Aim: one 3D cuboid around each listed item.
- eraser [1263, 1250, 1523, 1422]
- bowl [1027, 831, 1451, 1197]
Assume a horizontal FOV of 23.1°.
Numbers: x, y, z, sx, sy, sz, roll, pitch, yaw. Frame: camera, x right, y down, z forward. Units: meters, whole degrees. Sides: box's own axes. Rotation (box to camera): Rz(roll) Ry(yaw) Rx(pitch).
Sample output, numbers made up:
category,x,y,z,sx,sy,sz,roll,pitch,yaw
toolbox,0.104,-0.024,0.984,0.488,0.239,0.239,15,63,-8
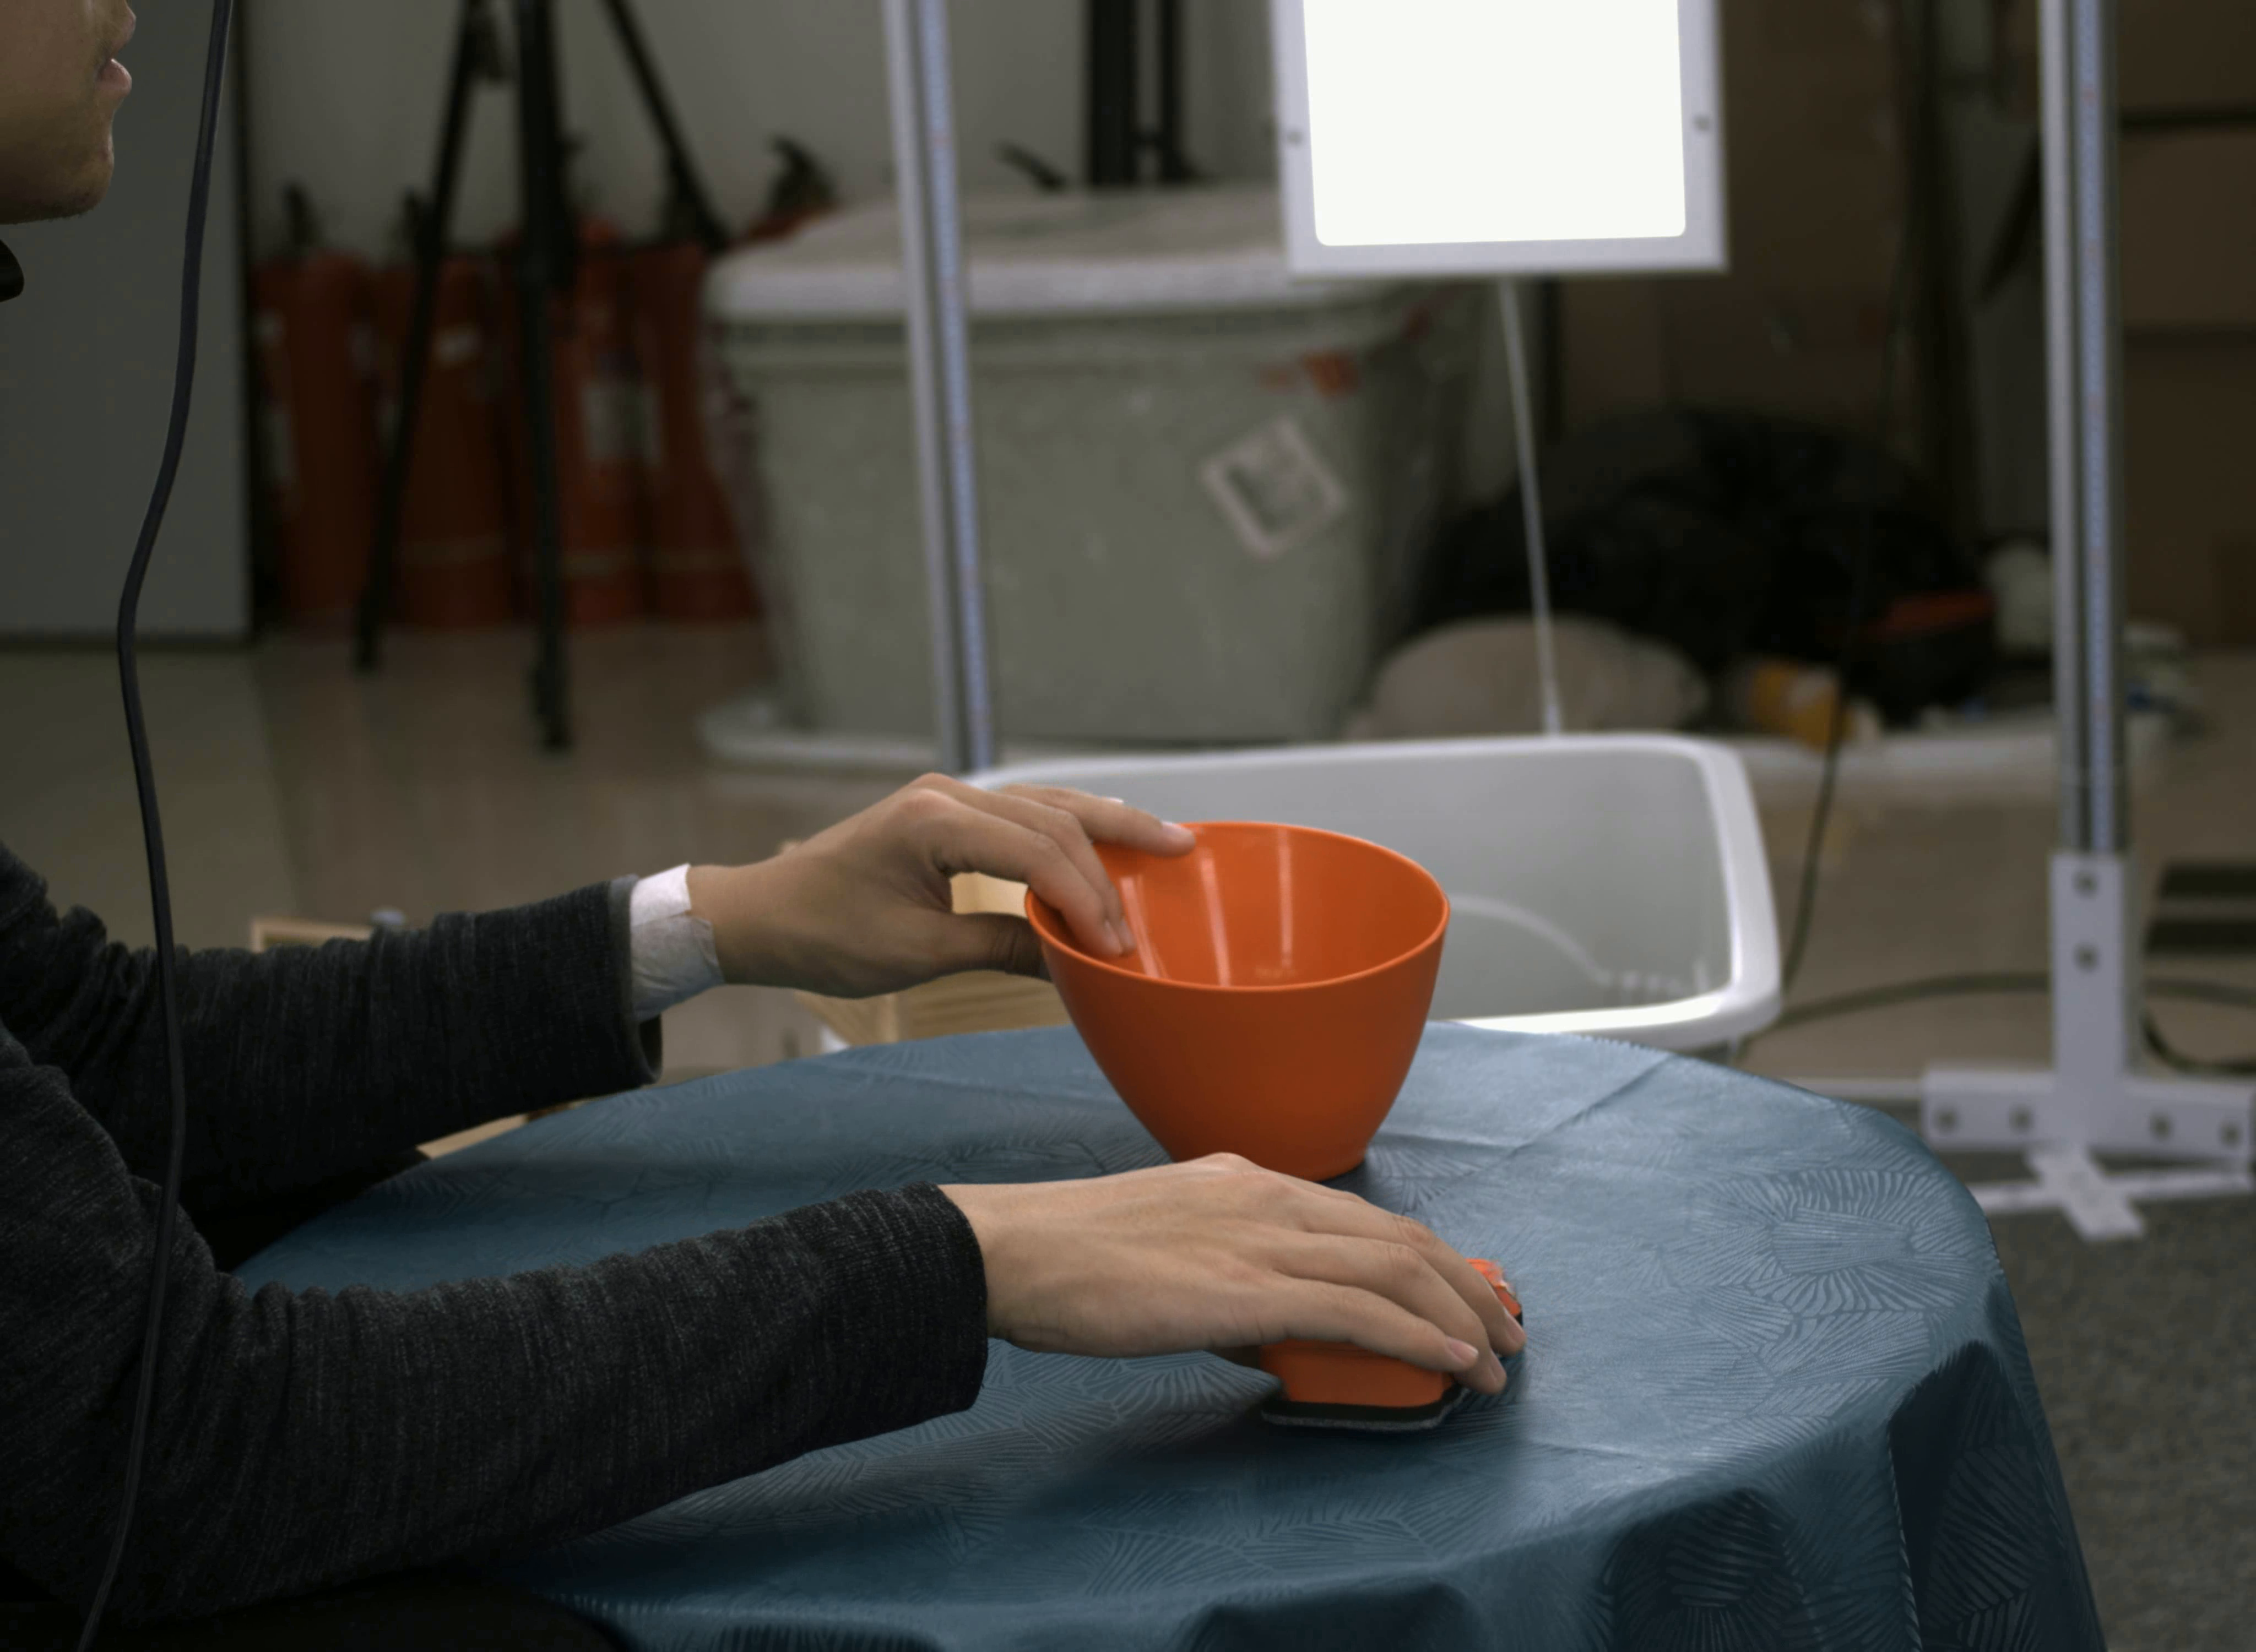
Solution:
category,x,y,z,sx,sy,sz,roll,pitch,yaw
eraser,0.083,0.155,1.683,0.060,0.023,0.106,2,12,20
bowl,0.042,0.068,1.914,0.147,0.105,0.148,-5,13,0
